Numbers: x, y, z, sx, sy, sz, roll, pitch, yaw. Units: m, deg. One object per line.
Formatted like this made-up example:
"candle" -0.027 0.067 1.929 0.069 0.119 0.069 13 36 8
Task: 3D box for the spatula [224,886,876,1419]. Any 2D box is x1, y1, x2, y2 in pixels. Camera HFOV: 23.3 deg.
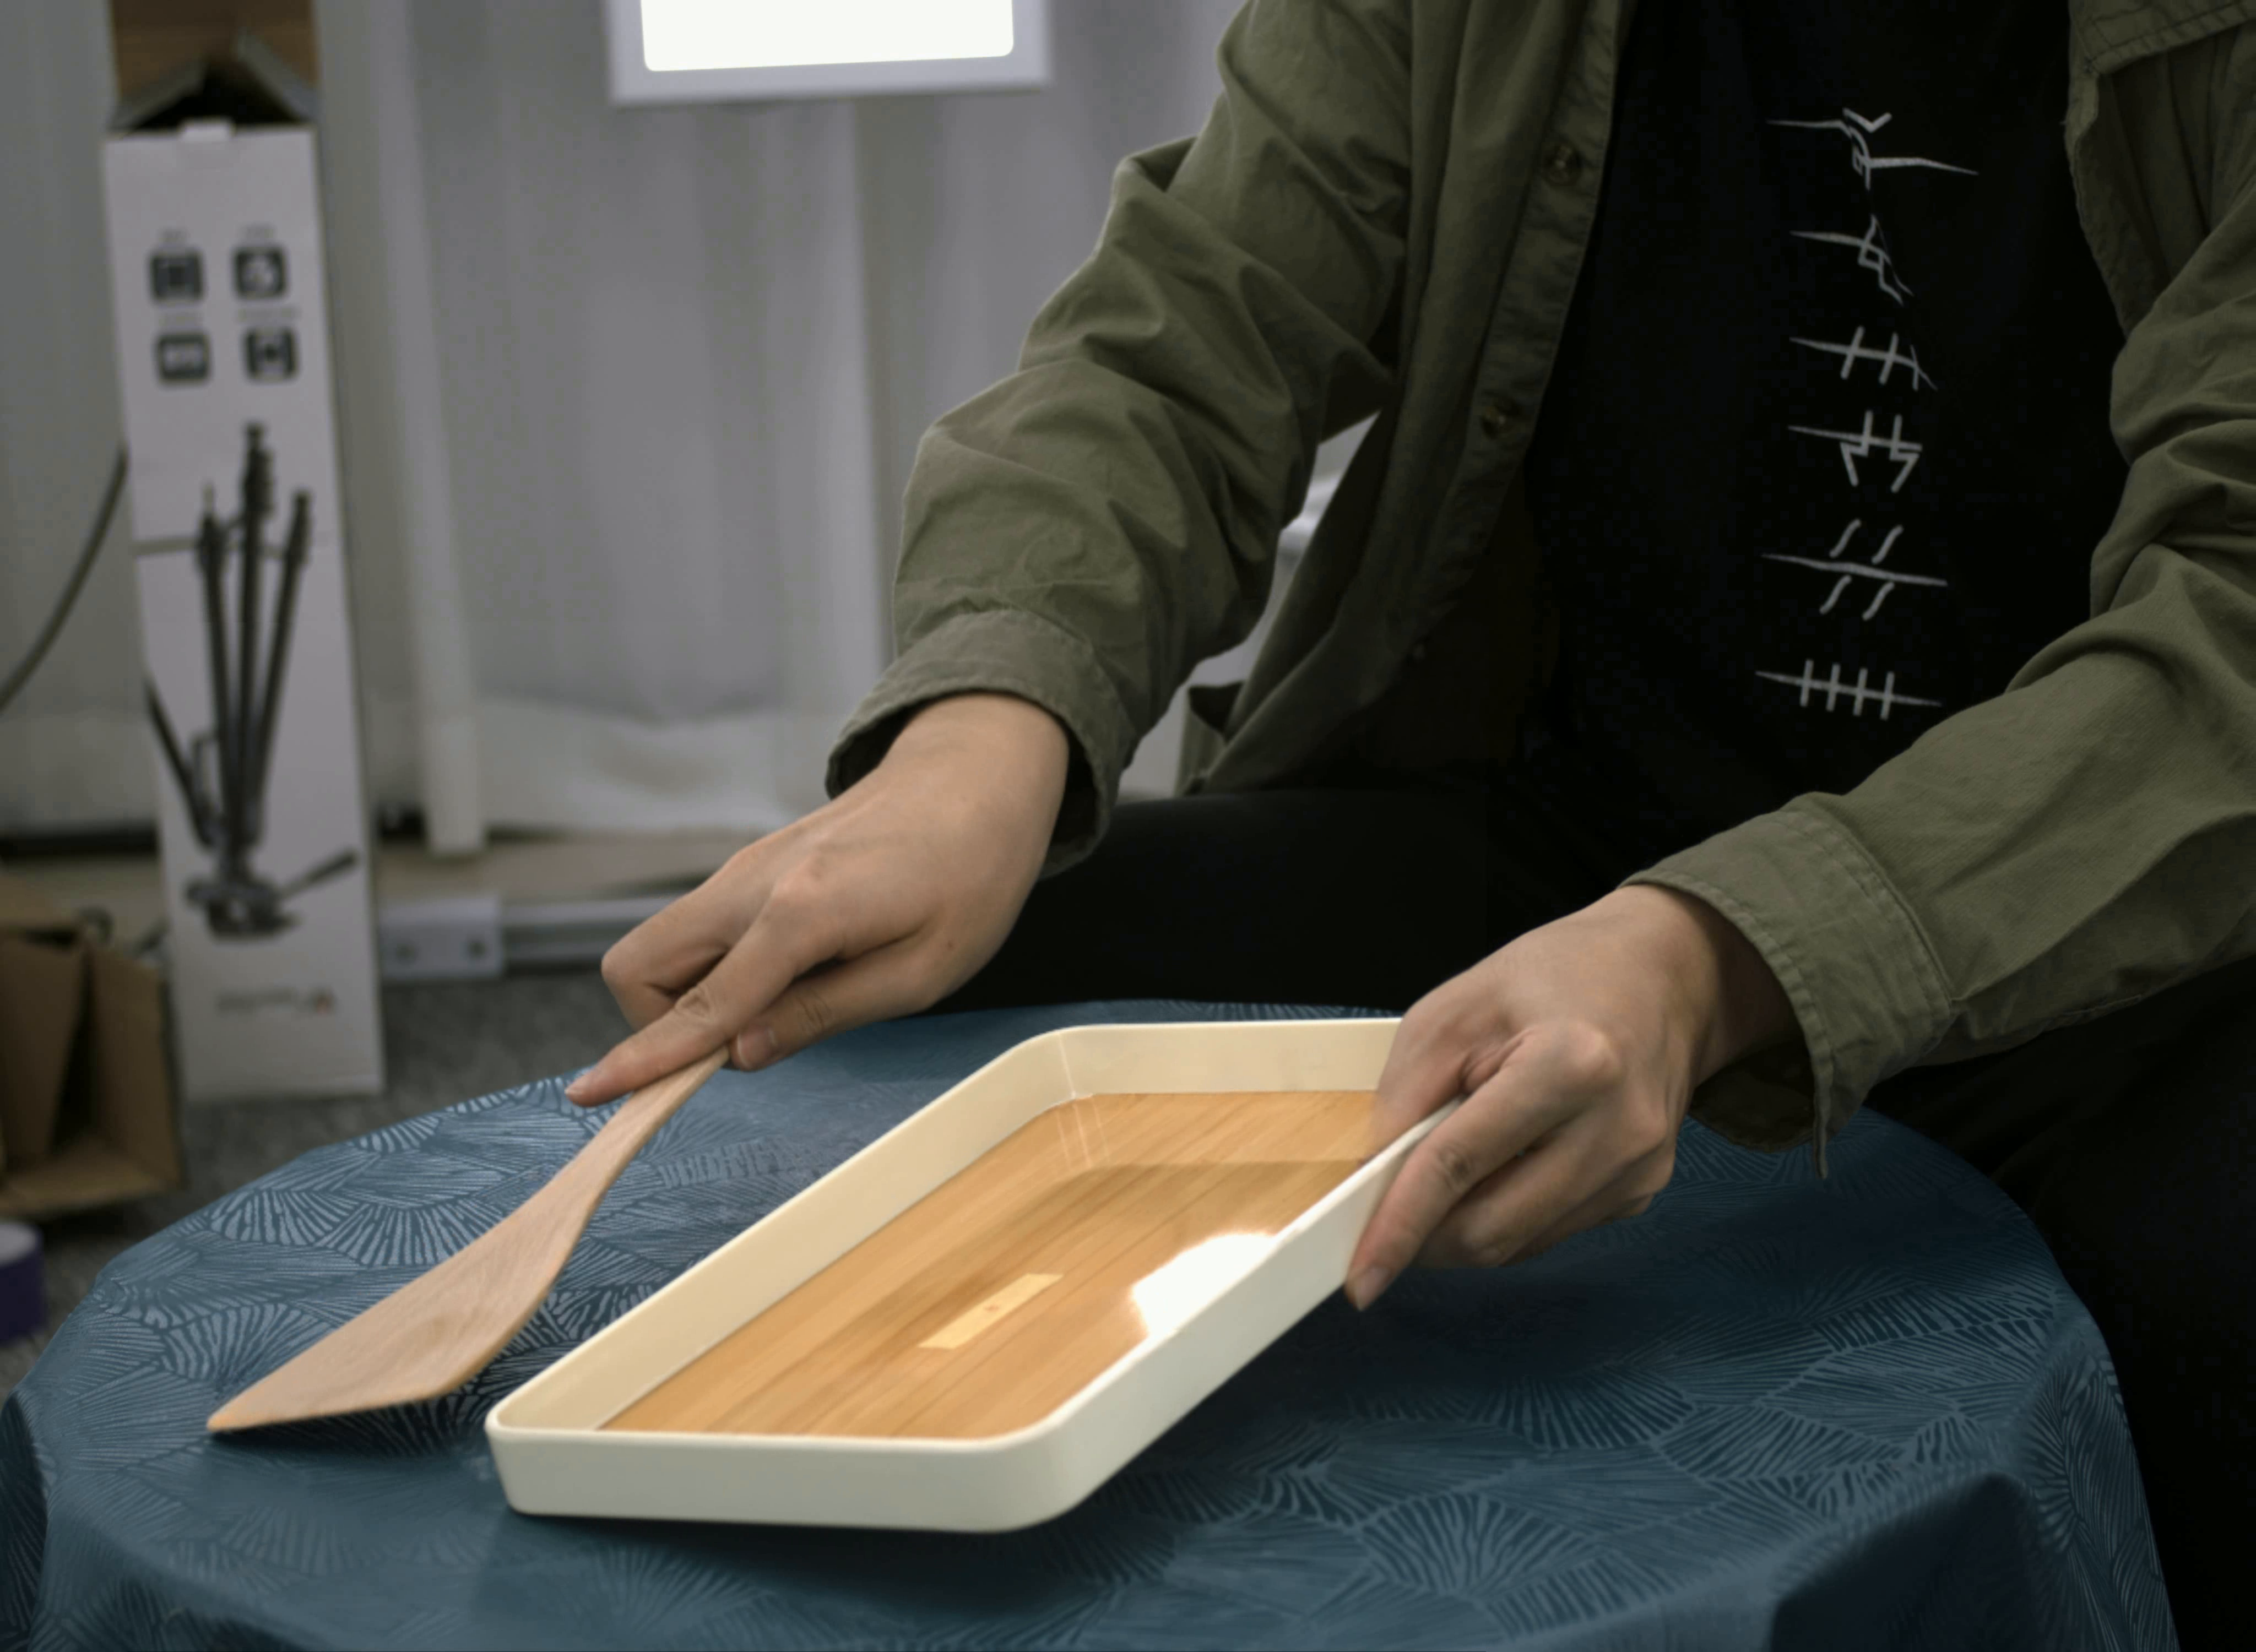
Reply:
"spatula" -0.157 0.093 1.658 0.080 0.016 0.330 -8 23 31

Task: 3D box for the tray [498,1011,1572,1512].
"tray" -0.020 0.118 1.549 0.192 0.027 0.301 -3 17 35
